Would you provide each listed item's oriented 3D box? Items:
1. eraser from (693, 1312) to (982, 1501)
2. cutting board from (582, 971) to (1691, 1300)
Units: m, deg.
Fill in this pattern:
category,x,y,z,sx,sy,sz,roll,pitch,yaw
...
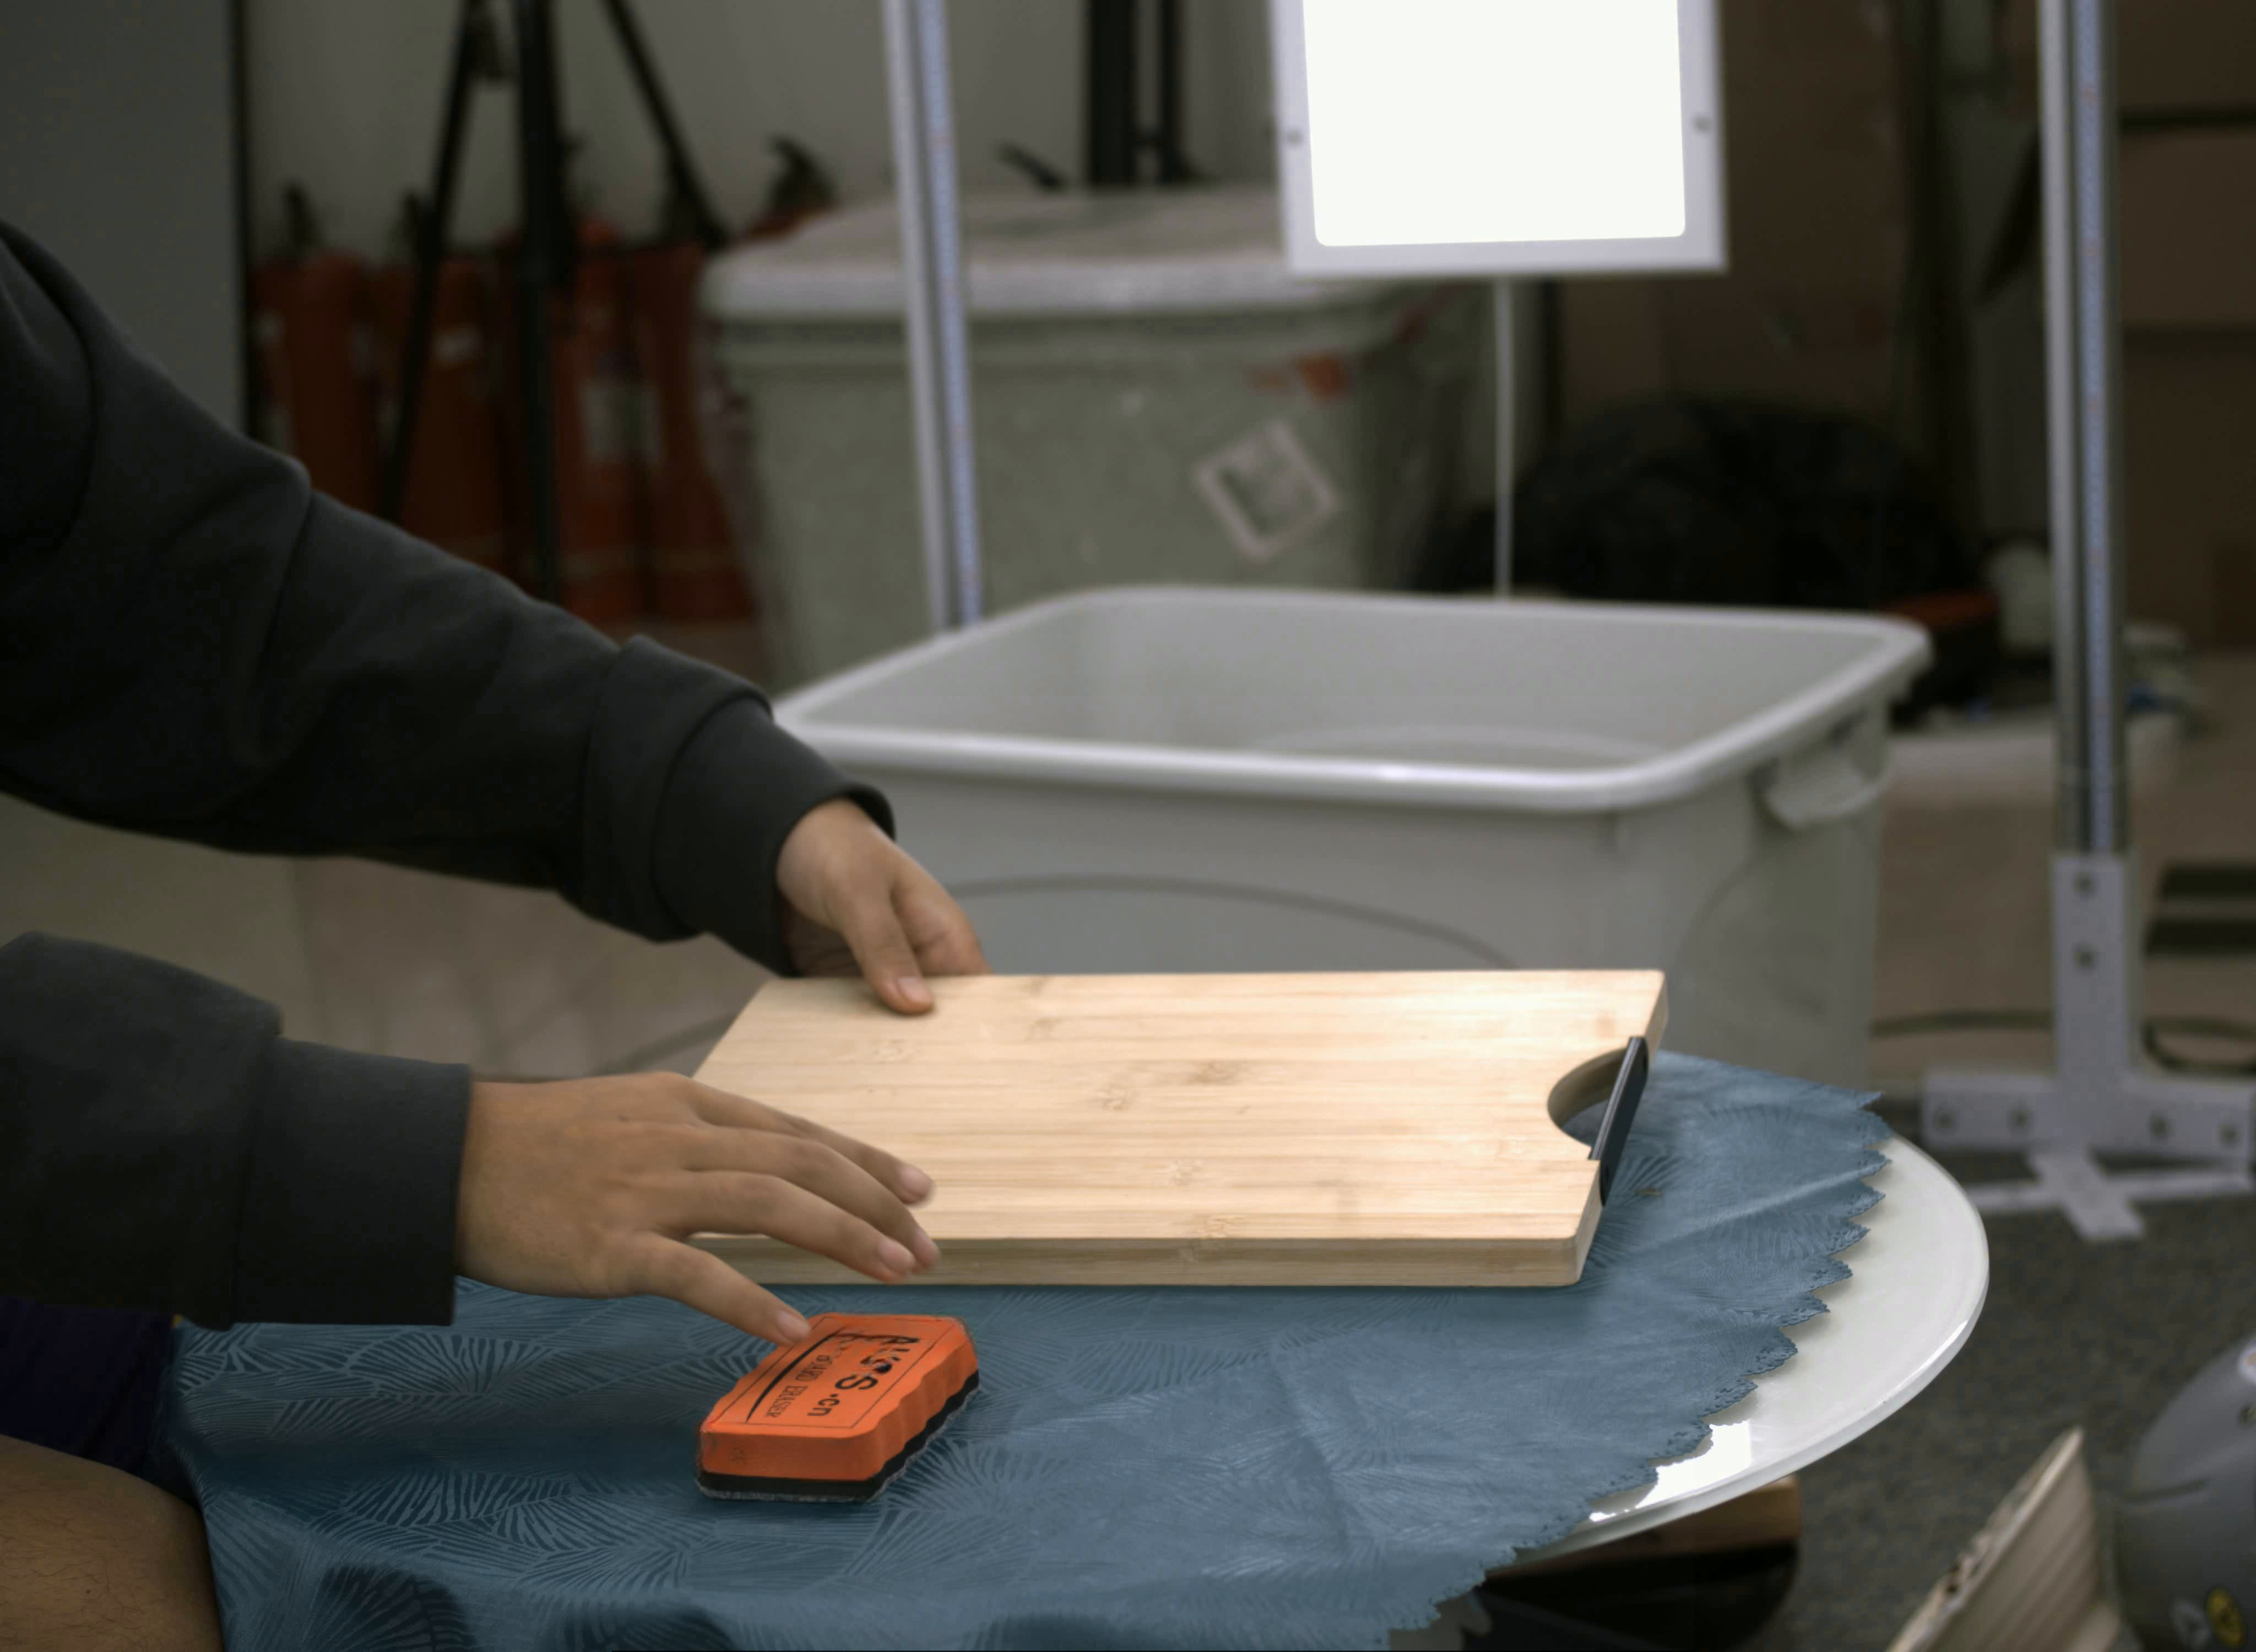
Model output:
category,x,y,z,sx,sy,sz,roll,pitch,yaw
eraser,-0.087,0.176,1.677,0.060,0.023,0.106,0,14,20
cutting board,0.010,0.103,1.909,0.352,0.023,0.247,-1,20,15
